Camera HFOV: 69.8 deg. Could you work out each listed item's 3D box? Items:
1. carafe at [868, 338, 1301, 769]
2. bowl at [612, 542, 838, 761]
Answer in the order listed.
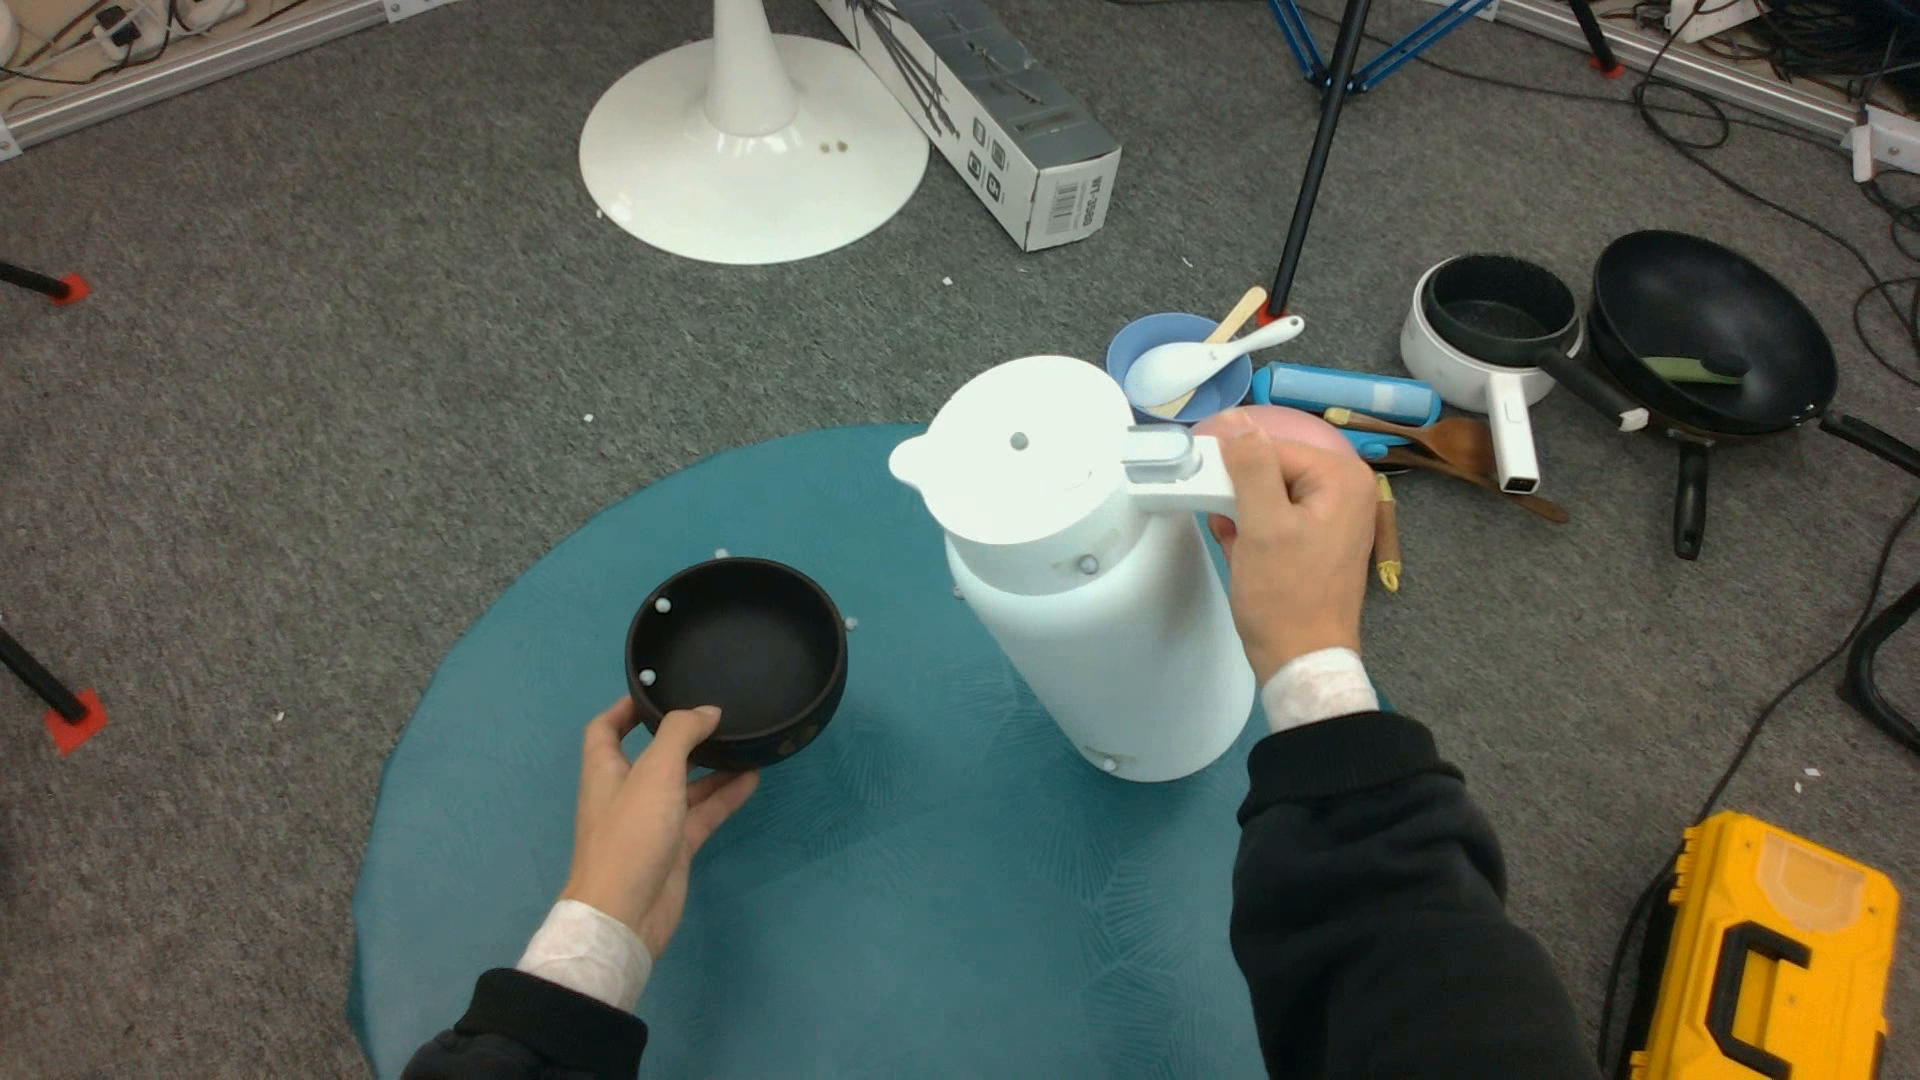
[{"bbox_3d":[0.082,0.015,0.693,0.172,0.268,0.124,-2,58,23],"label":"carafe"},{"bbox_3d":[-0.126,0.067,0.746,0.118,0.069,0.118,4,55,-5],"label":"bowl"}]
